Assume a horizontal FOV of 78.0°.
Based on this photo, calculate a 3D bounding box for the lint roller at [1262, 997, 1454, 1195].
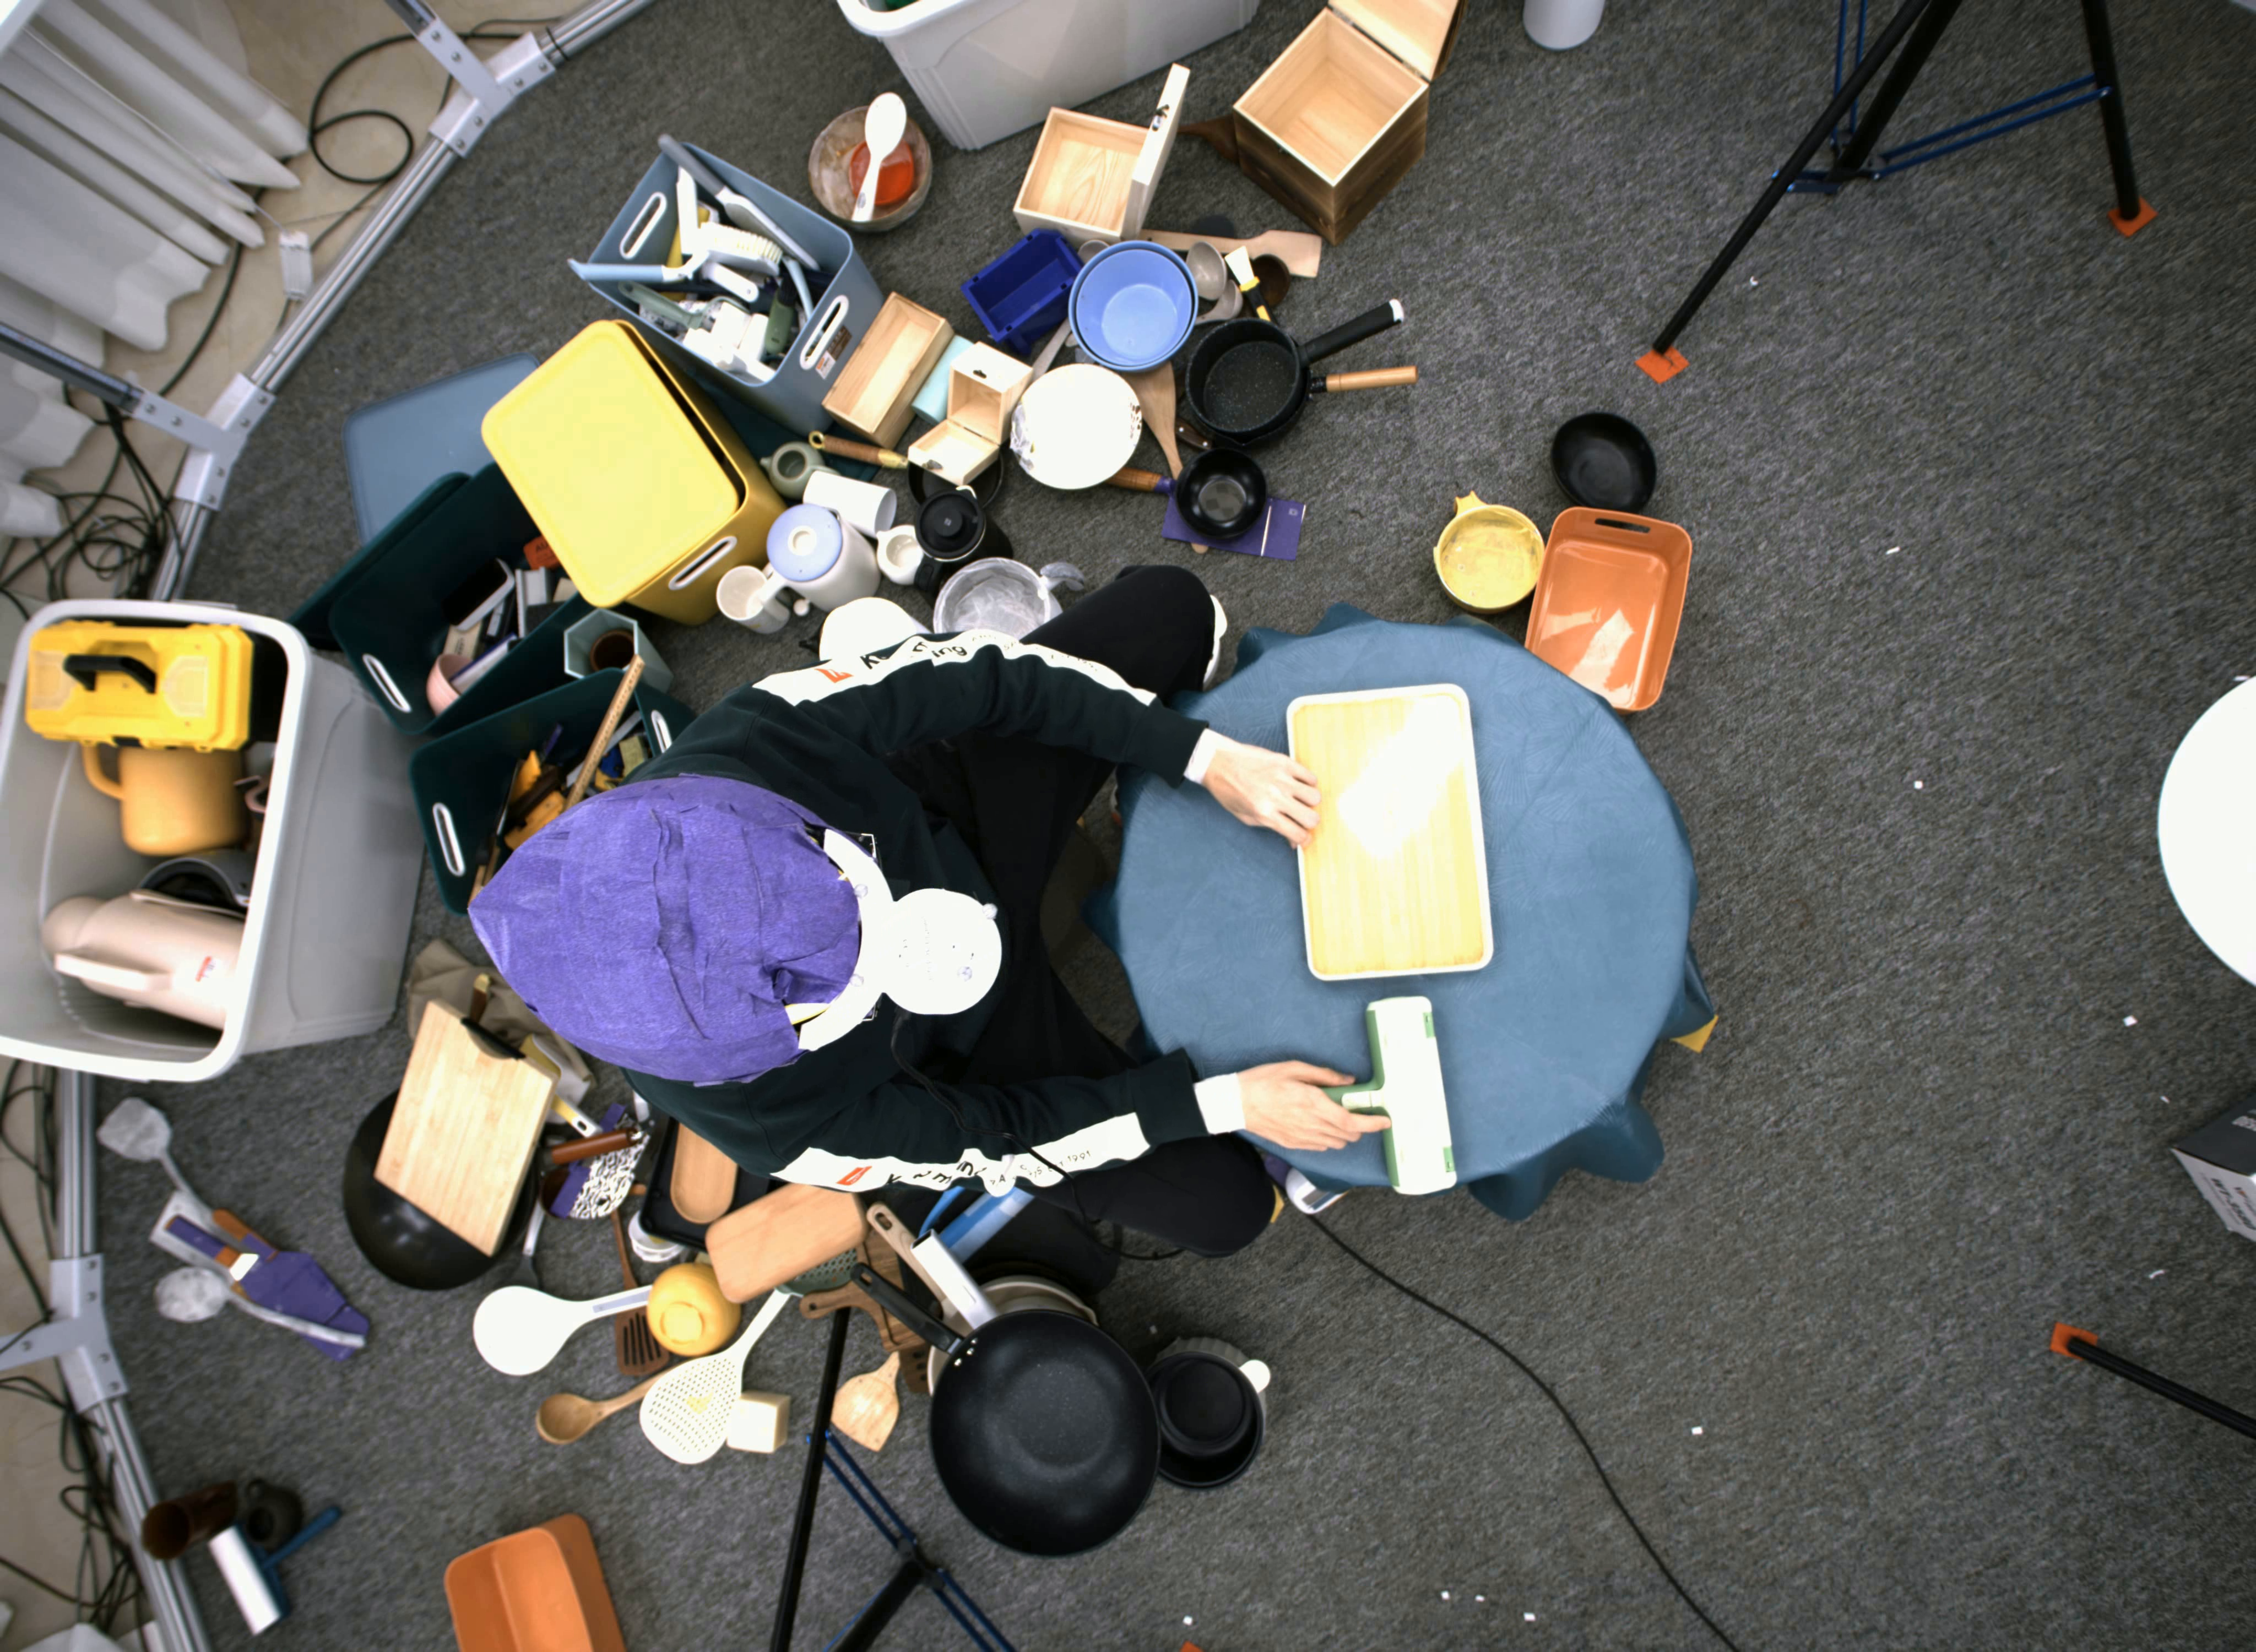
[{"bbox_3d":[0.229,0.279,1.411,0.184,0.082,0.198,-7,86,5],"label":"lint roller"}]

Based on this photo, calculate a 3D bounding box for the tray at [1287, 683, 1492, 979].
[{"bbox_3d":[0.271,0.004,1.440,0.192,0.027,0.299,-4,86,7],"label":"tray"}]
